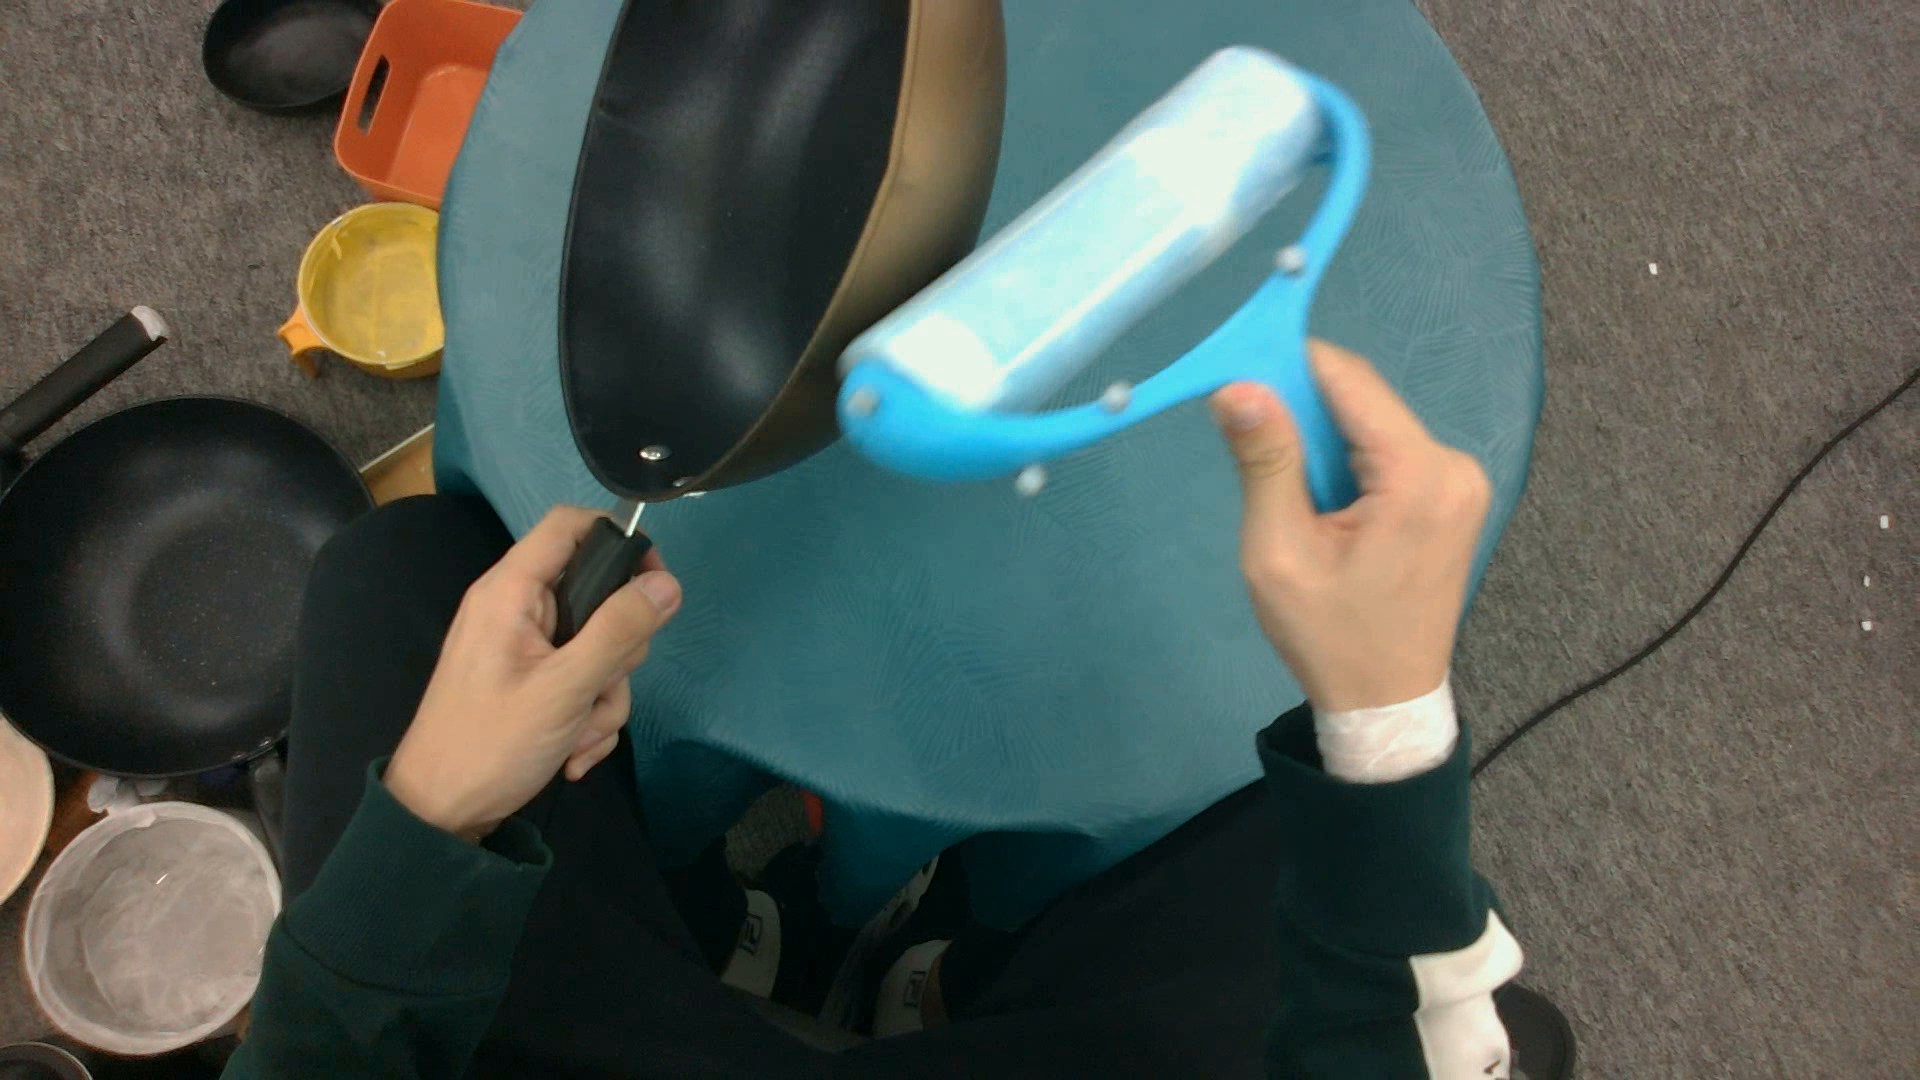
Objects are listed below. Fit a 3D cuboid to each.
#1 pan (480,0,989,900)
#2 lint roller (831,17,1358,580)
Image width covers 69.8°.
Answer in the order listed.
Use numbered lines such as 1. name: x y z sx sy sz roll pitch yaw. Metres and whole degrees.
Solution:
1. pan: -0.100 -0.063 0.552 0.087 0.288 0.462 10 103 -36
2. lint roller: 0.086 -0.064 0.466 0.180 0.067 0.230 46 64 -3
